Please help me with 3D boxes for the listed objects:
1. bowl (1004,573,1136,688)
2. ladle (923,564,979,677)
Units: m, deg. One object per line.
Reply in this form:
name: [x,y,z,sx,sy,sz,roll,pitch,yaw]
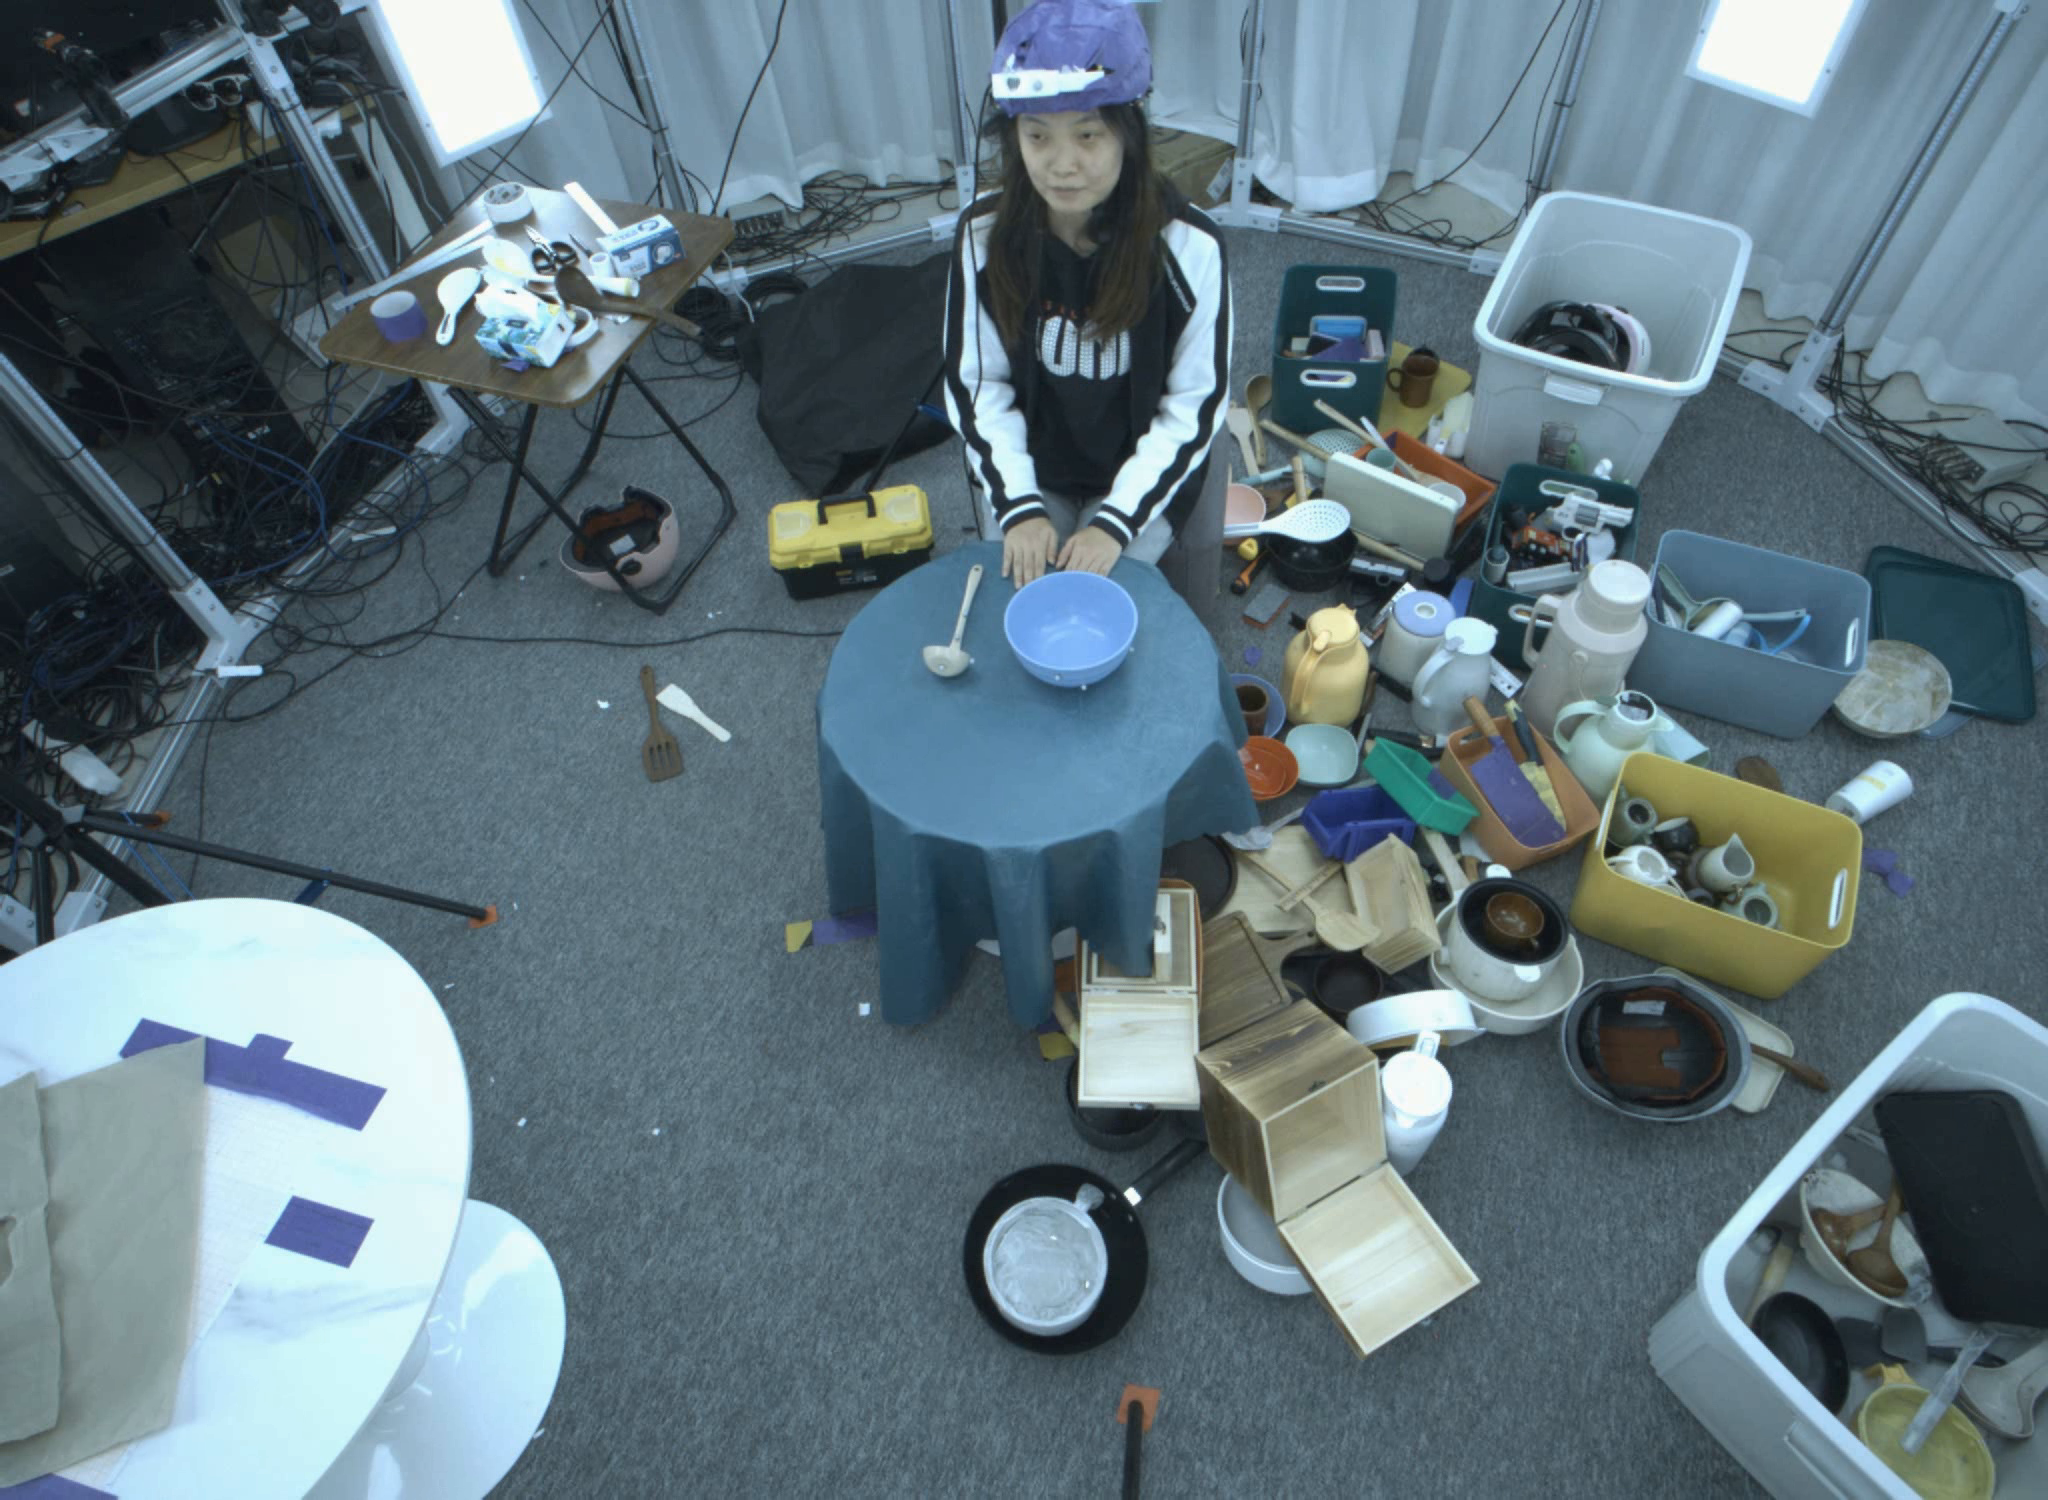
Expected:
bowl: [0.071,-0.164,1.848,0.196,0.096,0.194,-2,54,3]
ladle: [-0.102,-0.223,1.904,0.072,0.073,0.252,6,55,7]
